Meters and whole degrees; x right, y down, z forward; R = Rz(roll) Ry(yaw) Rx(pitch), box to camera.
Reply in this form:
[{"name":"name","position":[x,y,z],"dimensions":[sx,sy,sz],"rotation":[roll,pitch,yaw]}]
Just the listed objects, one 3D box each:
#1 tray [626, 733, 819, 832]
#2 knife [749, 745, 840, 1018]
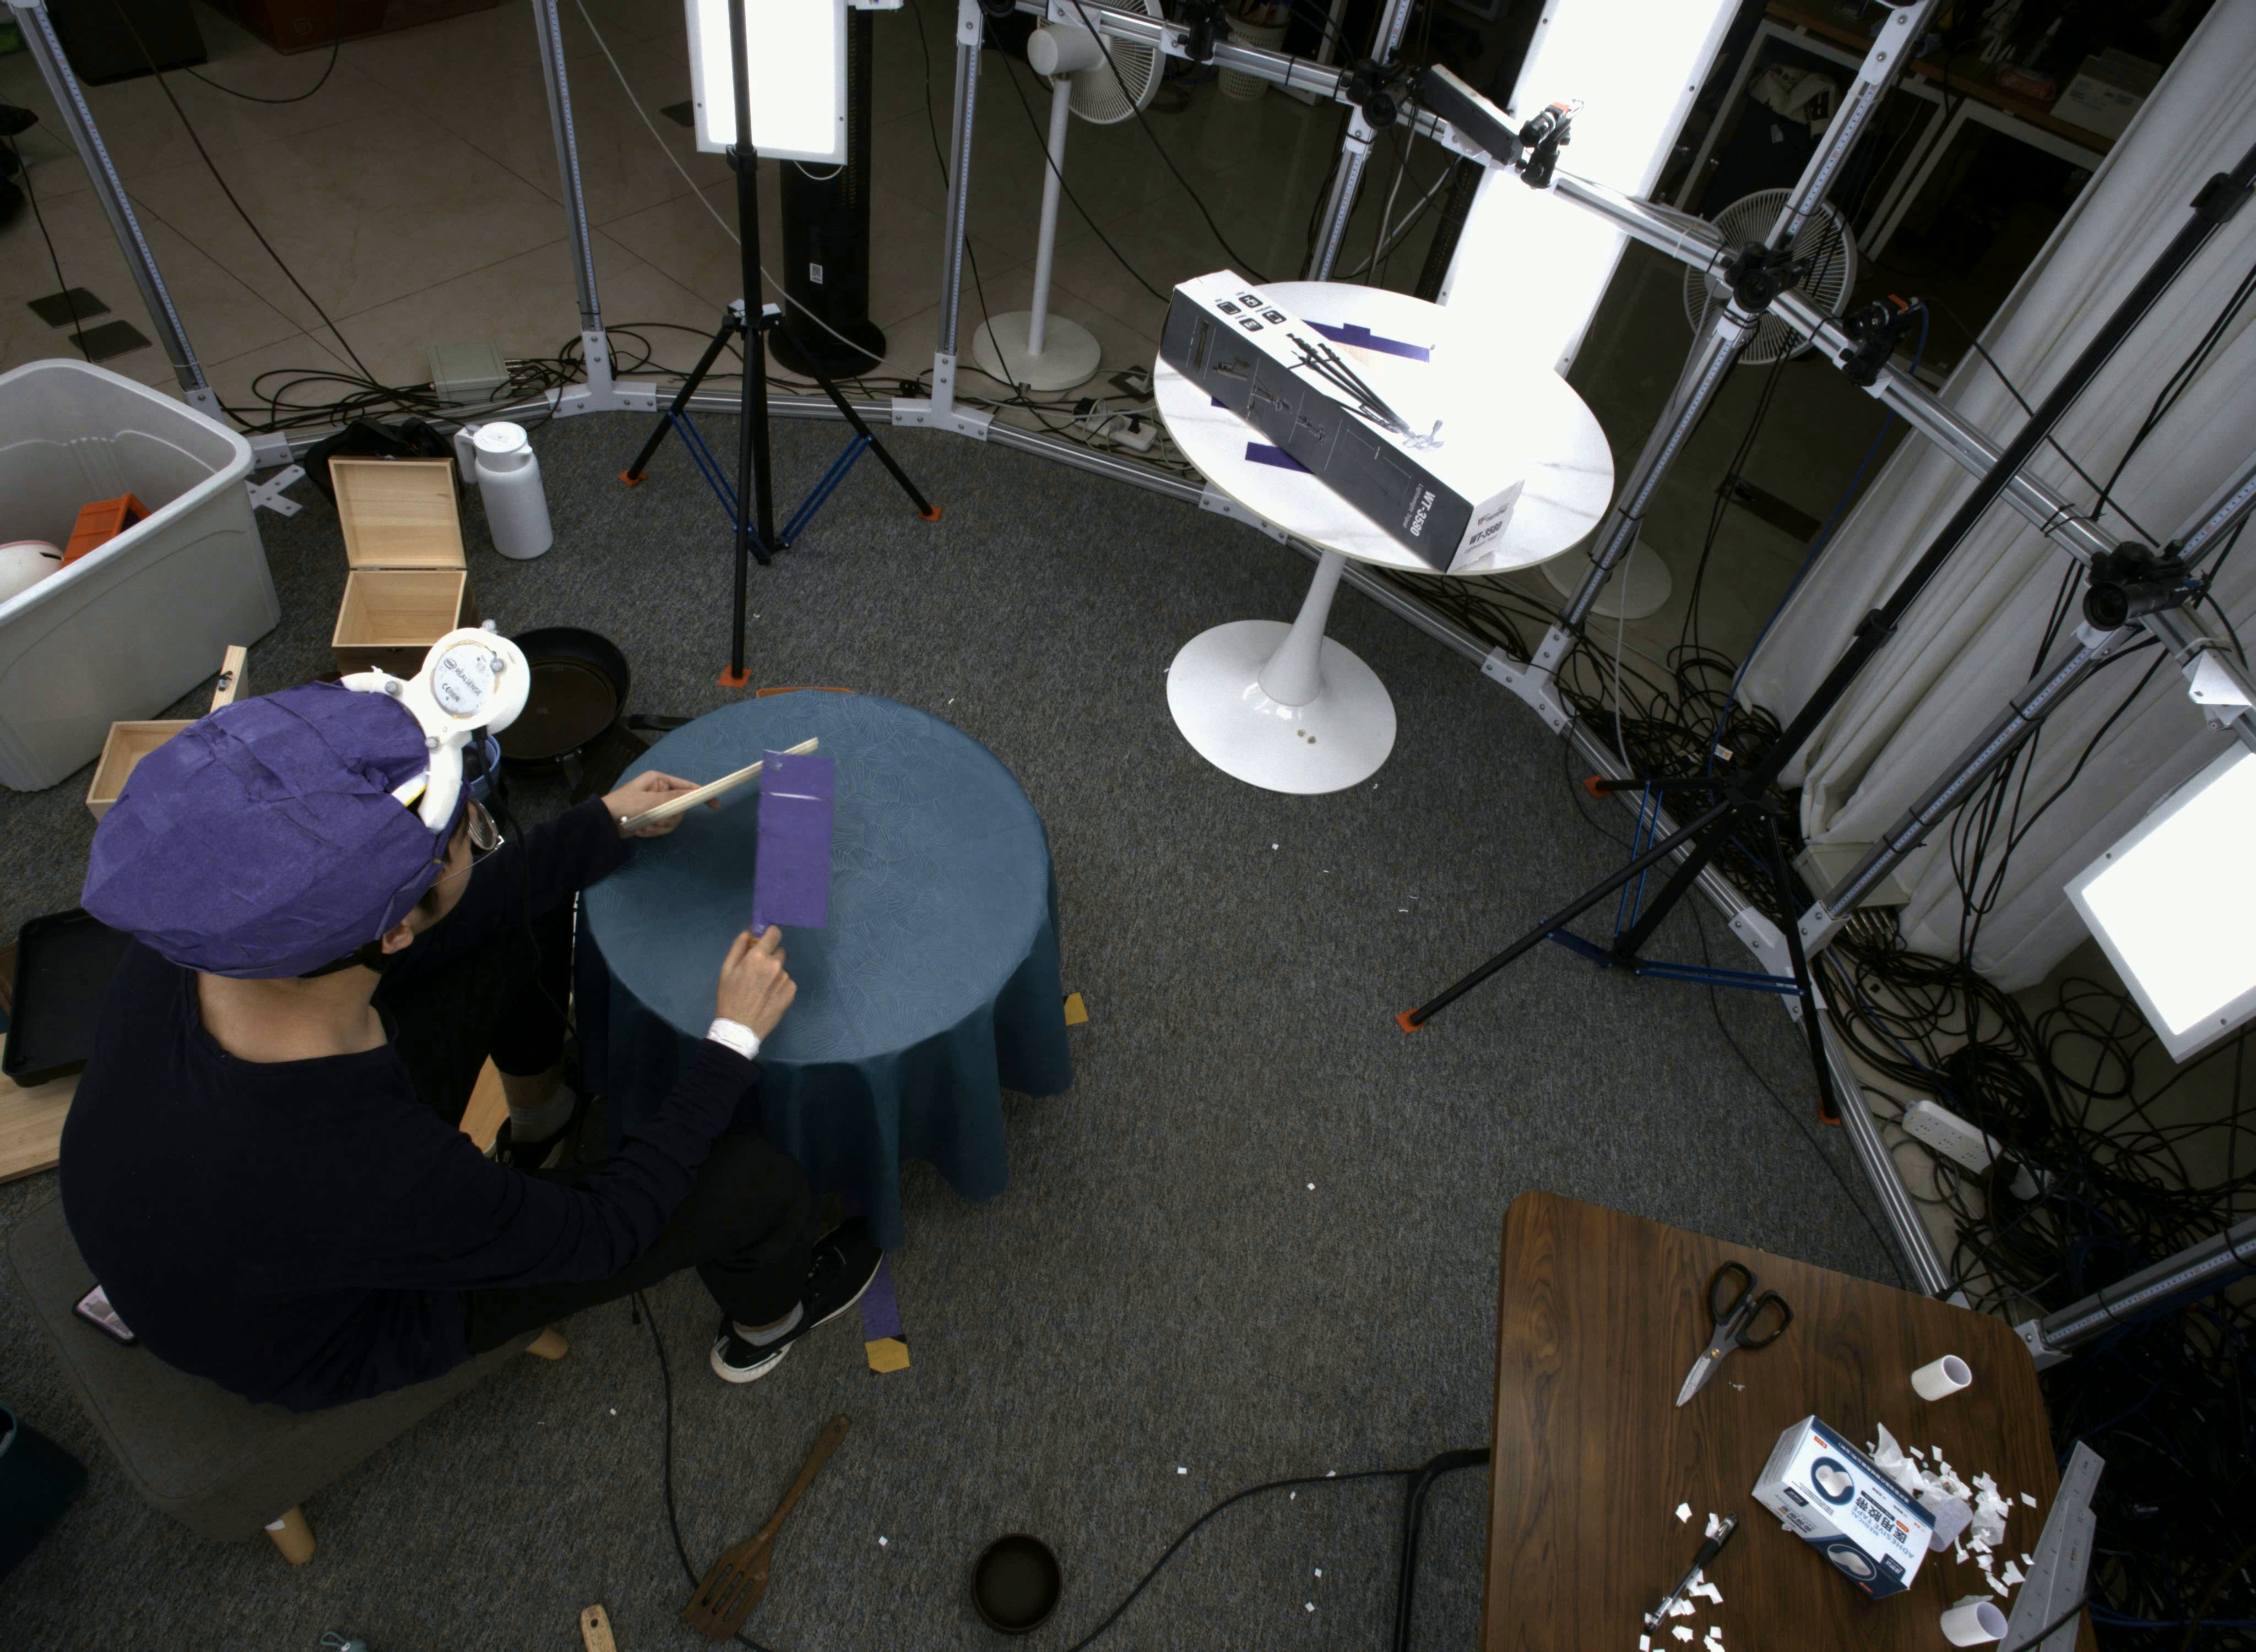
[{"name":"tray","position":[-0.508,-0.053,1.620],"dimensions":[0.241,0.167,0.018],"rotation":[-30,100,-34]},{"name":"knife","position":[-0.393,0.064,1.526],"dimensions":[0.106,0.031,0.317],"rotation":[6,81,-34]}]
